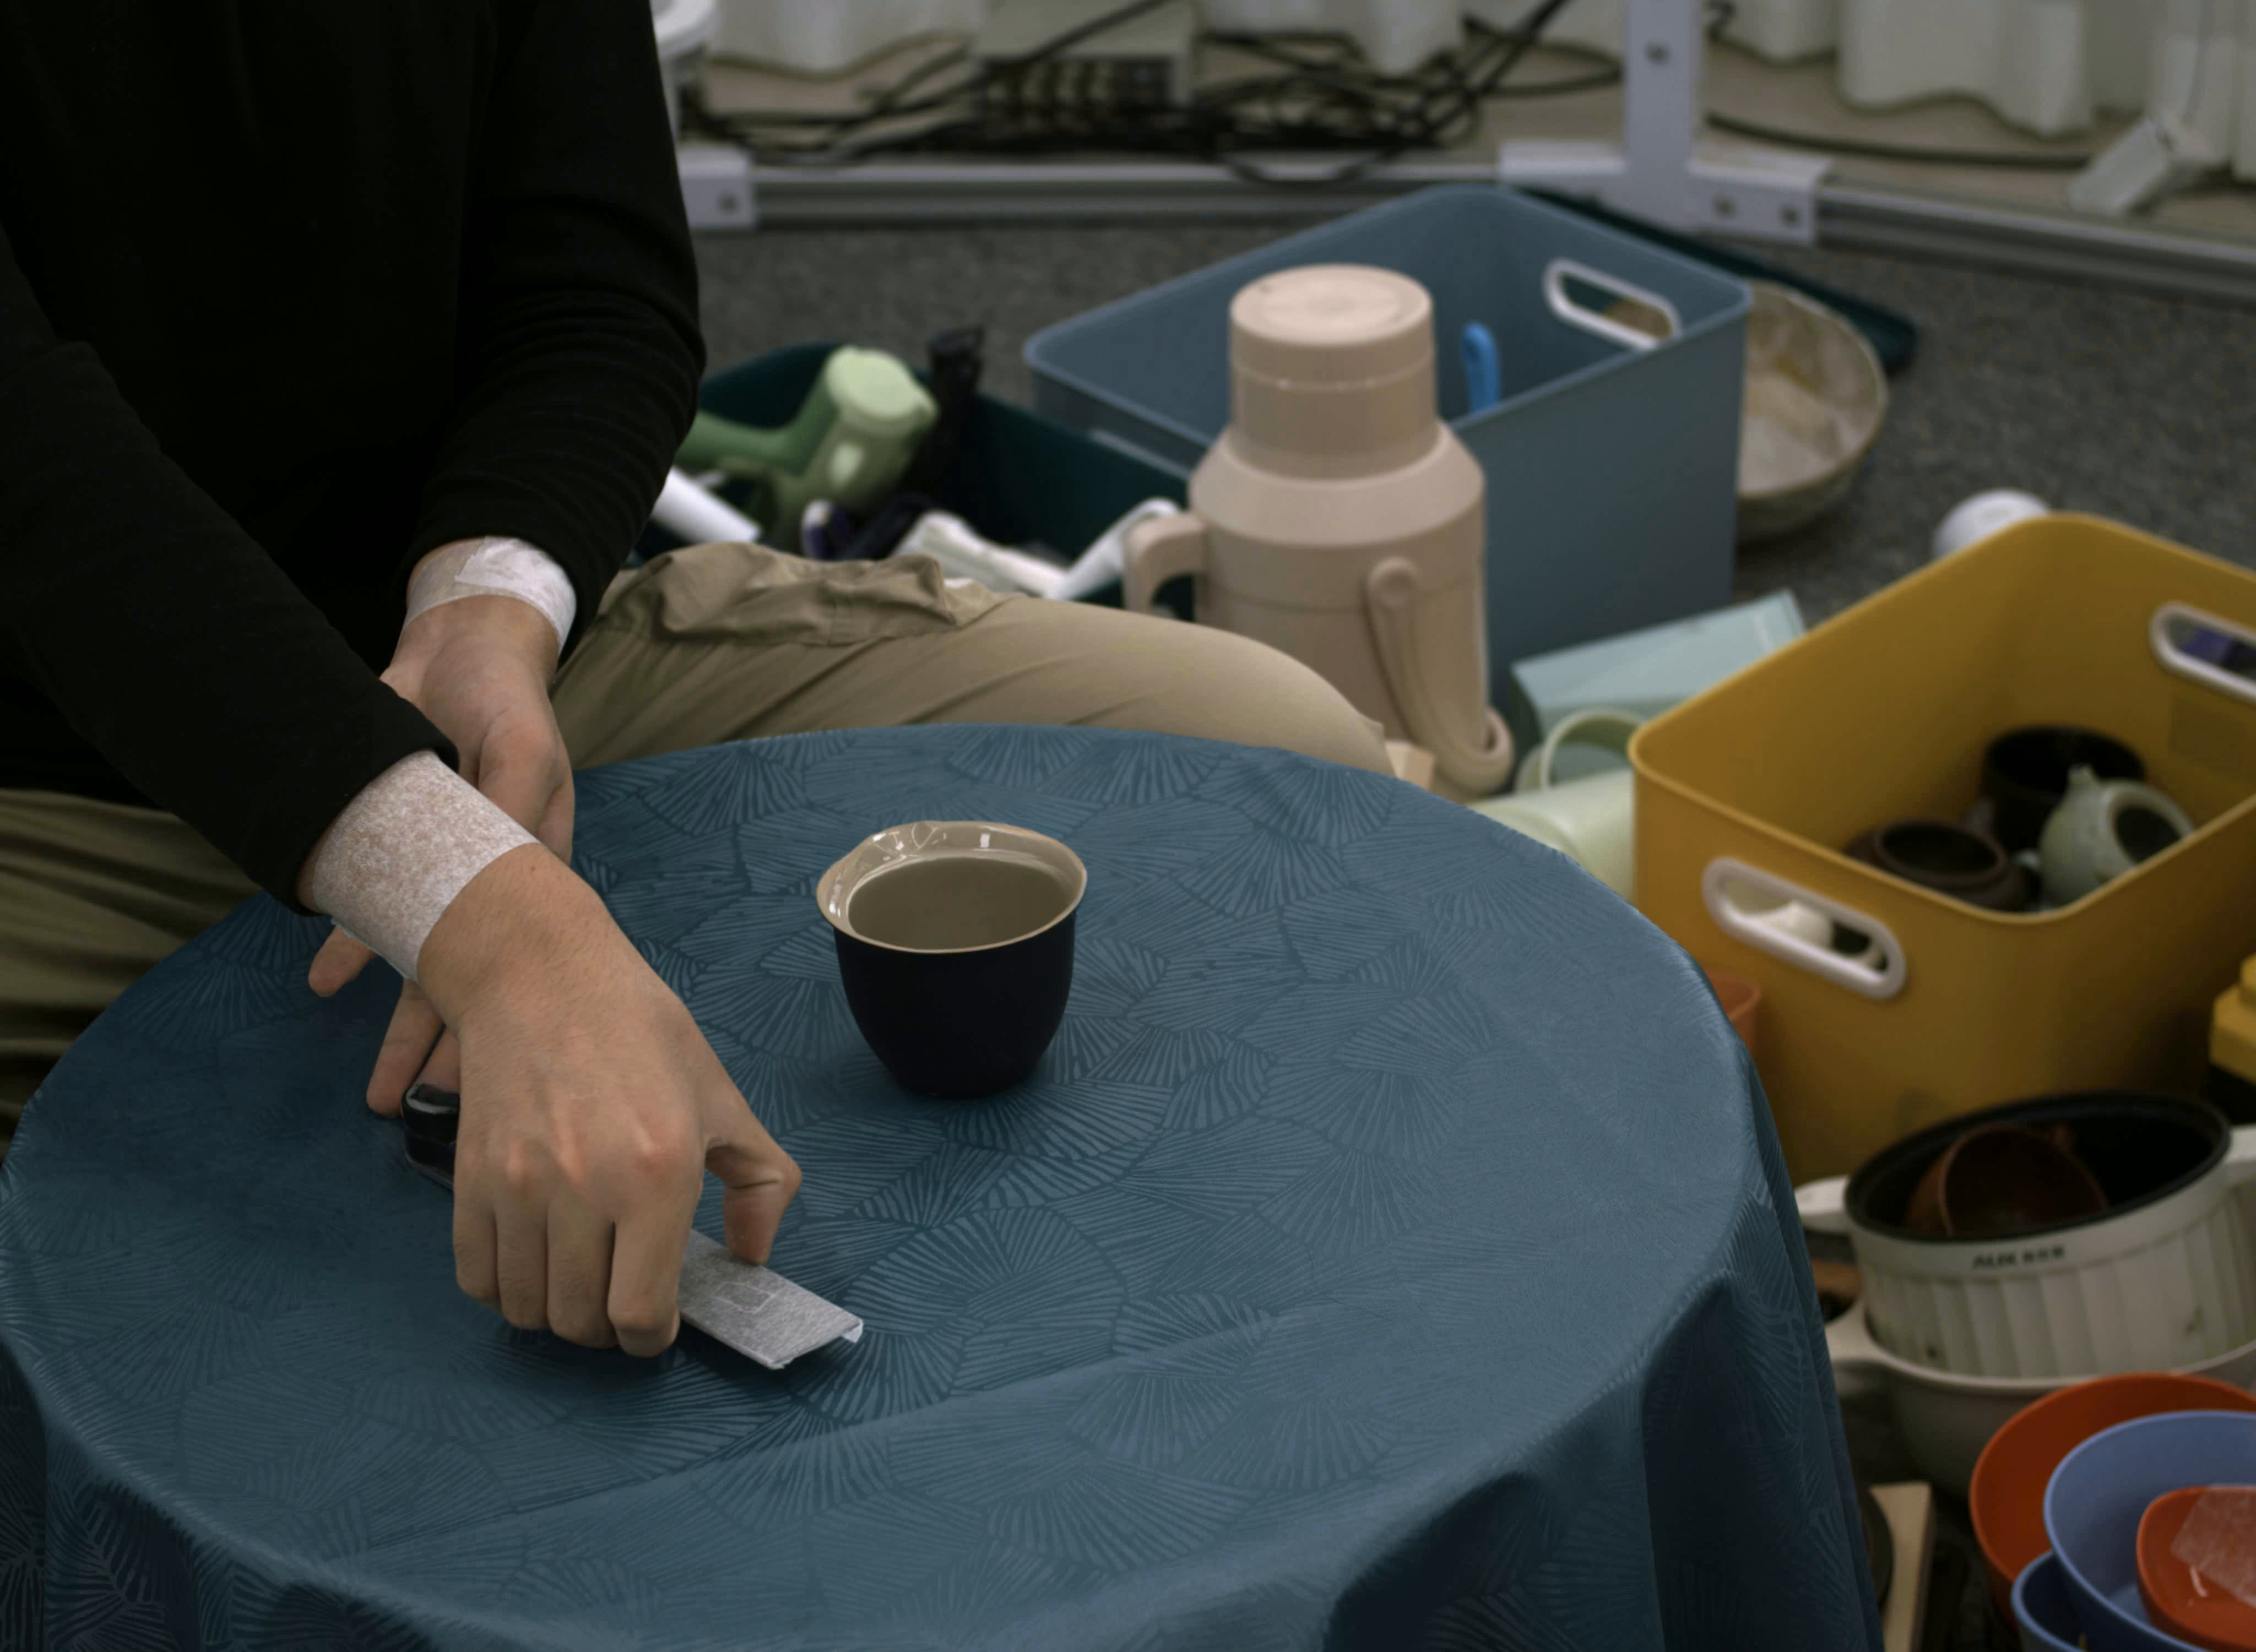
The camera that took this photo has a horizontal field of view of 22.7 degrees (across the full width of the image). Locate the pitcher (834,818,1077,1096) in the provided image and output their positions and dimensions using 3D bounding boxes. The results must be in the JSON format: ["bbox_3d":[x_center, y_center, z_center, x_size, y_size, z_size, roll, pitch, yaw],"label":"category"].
[{"bbox_3d":[-0.060,0.048,1.931,0.084,0.070,0.096,-15,30,-19],"label":"pitcher"}]

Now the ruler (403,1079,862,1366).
[{"bbox_3d":[-0.168,0.126,1.832,0.039,0.024,0.218,-31,33,-31],"label":"ruler"}]
